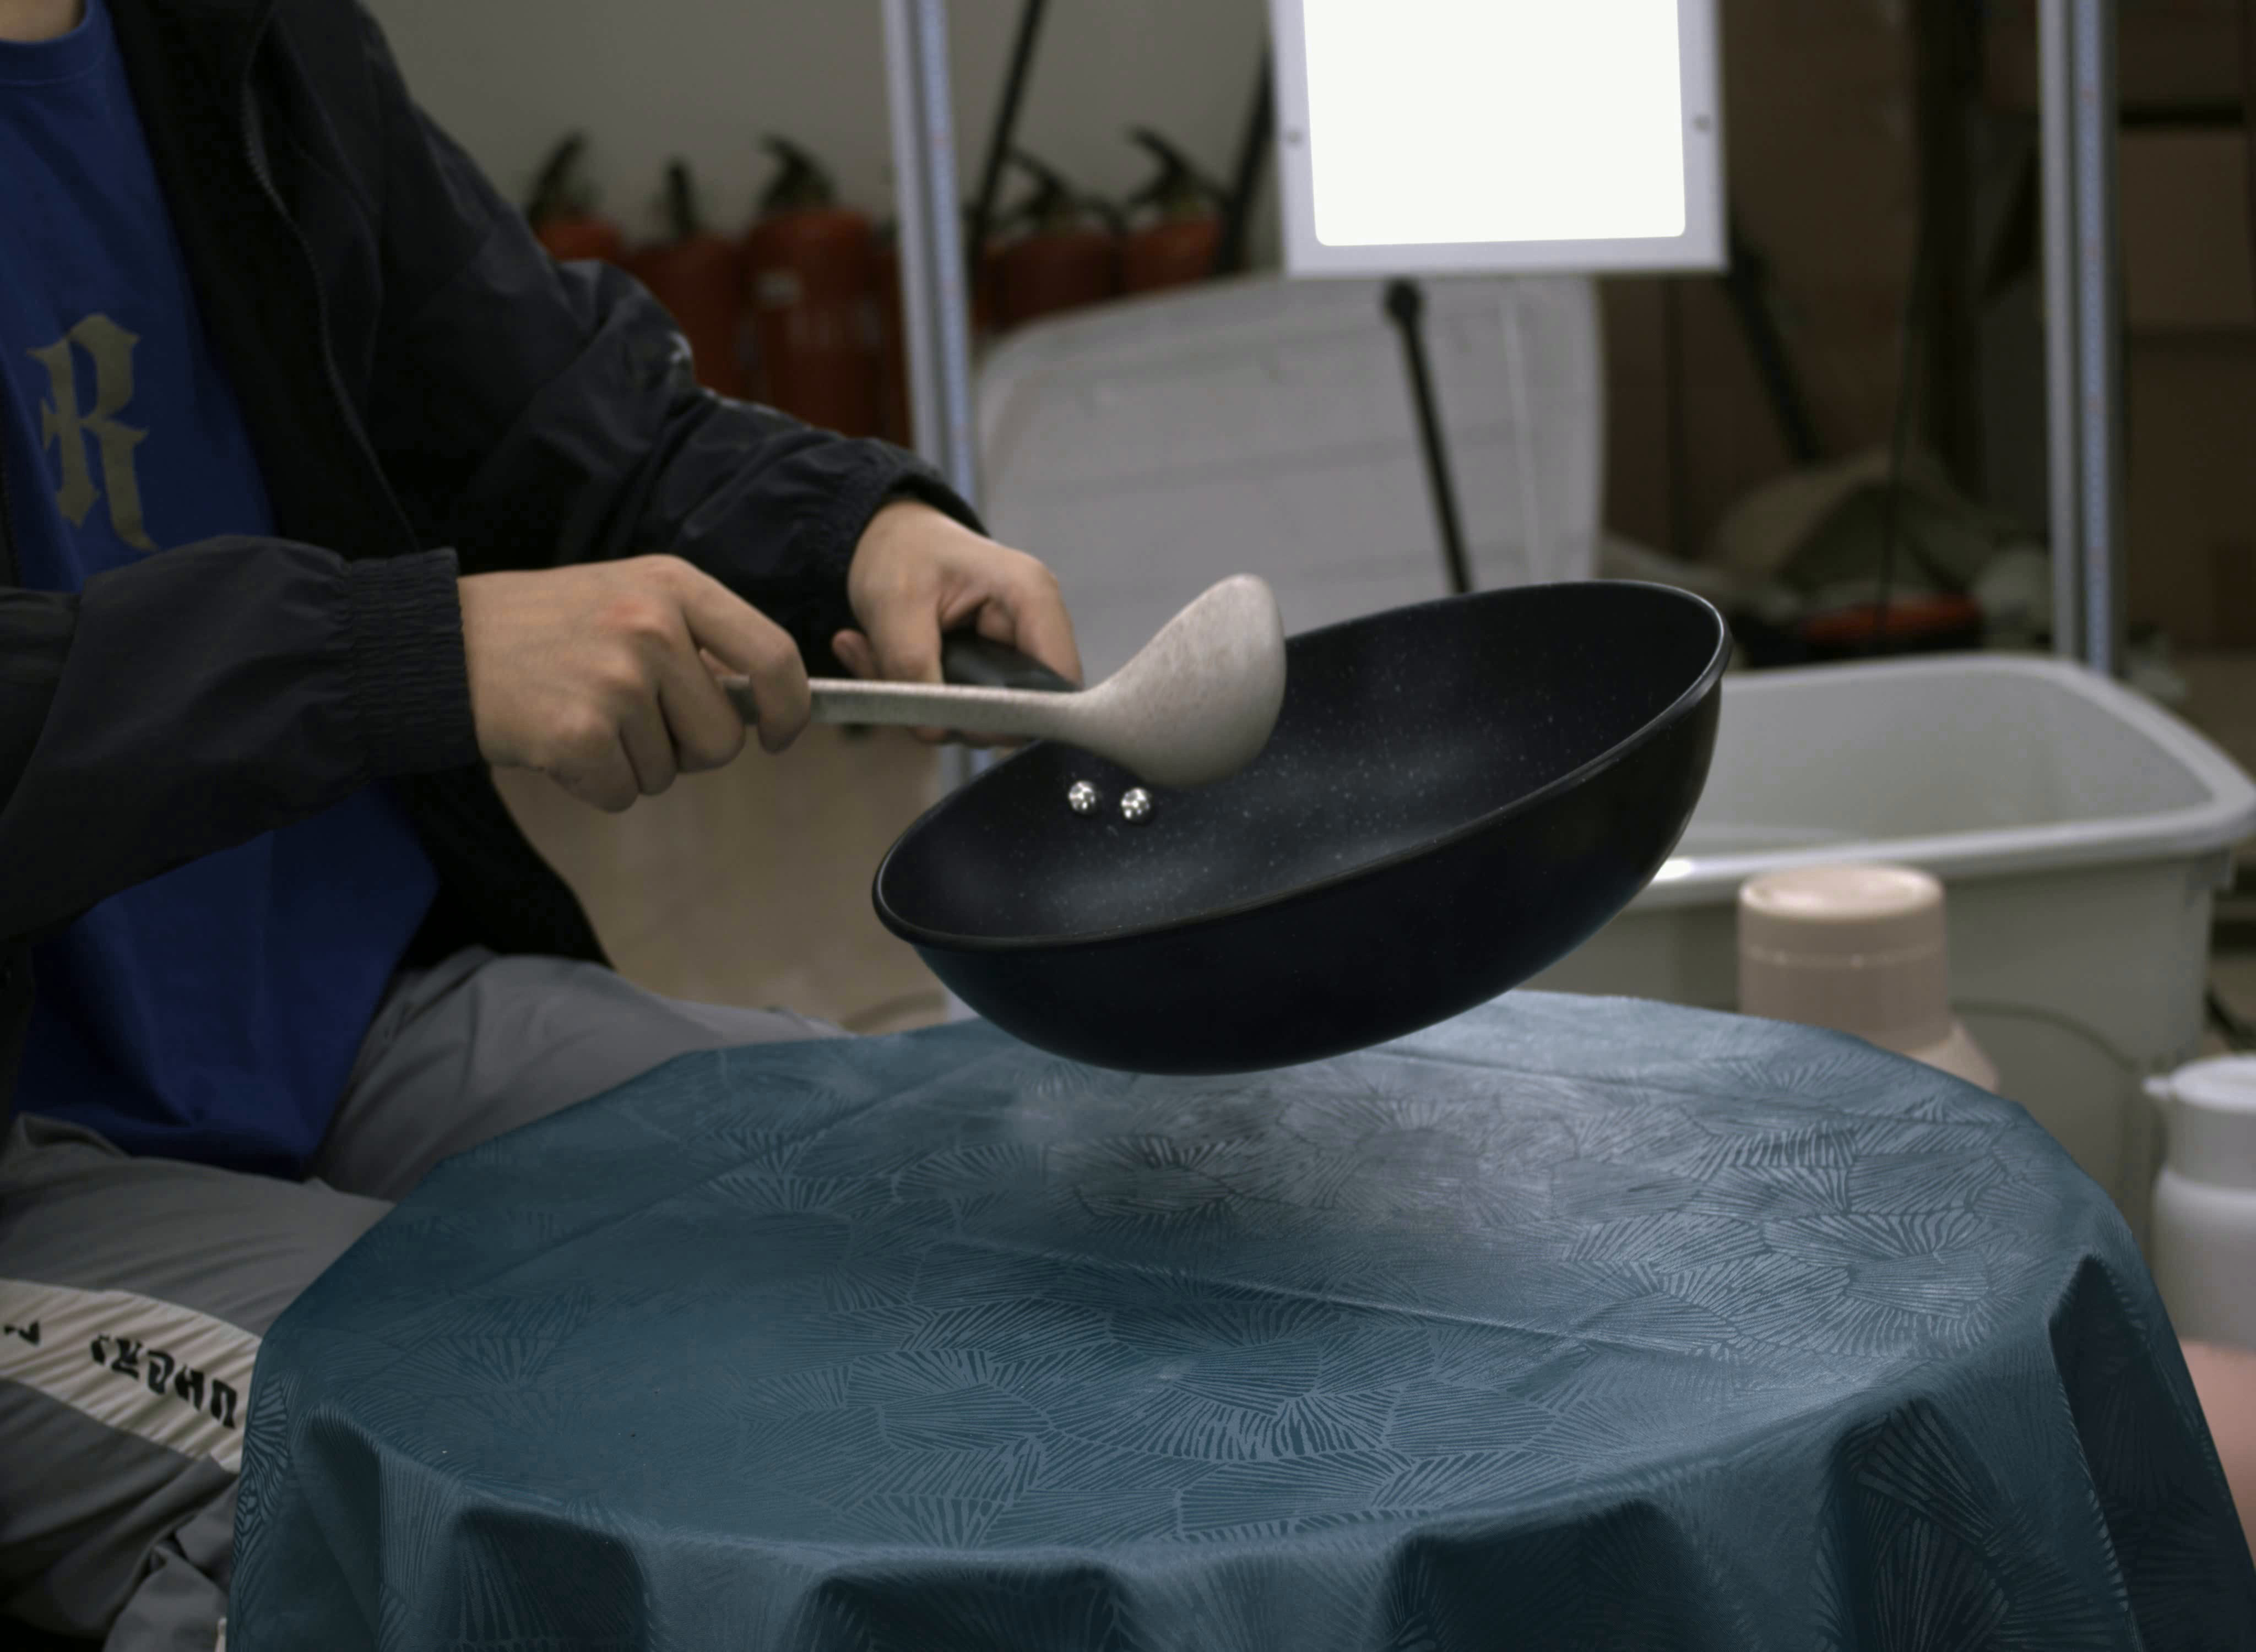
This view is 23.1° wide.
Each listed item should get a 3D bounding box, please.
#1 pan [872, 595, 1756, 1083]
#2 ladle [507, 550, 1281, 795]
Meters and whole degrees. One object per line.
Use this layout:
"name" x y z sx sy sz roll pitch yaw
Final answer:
"pan" 0.033 -0.005 1.960 0.304 0.112 0.485 -24 17 -23
"ladle" -0.082 -0.049 1.952 0.275 0.089 0.069 -4 47 7
